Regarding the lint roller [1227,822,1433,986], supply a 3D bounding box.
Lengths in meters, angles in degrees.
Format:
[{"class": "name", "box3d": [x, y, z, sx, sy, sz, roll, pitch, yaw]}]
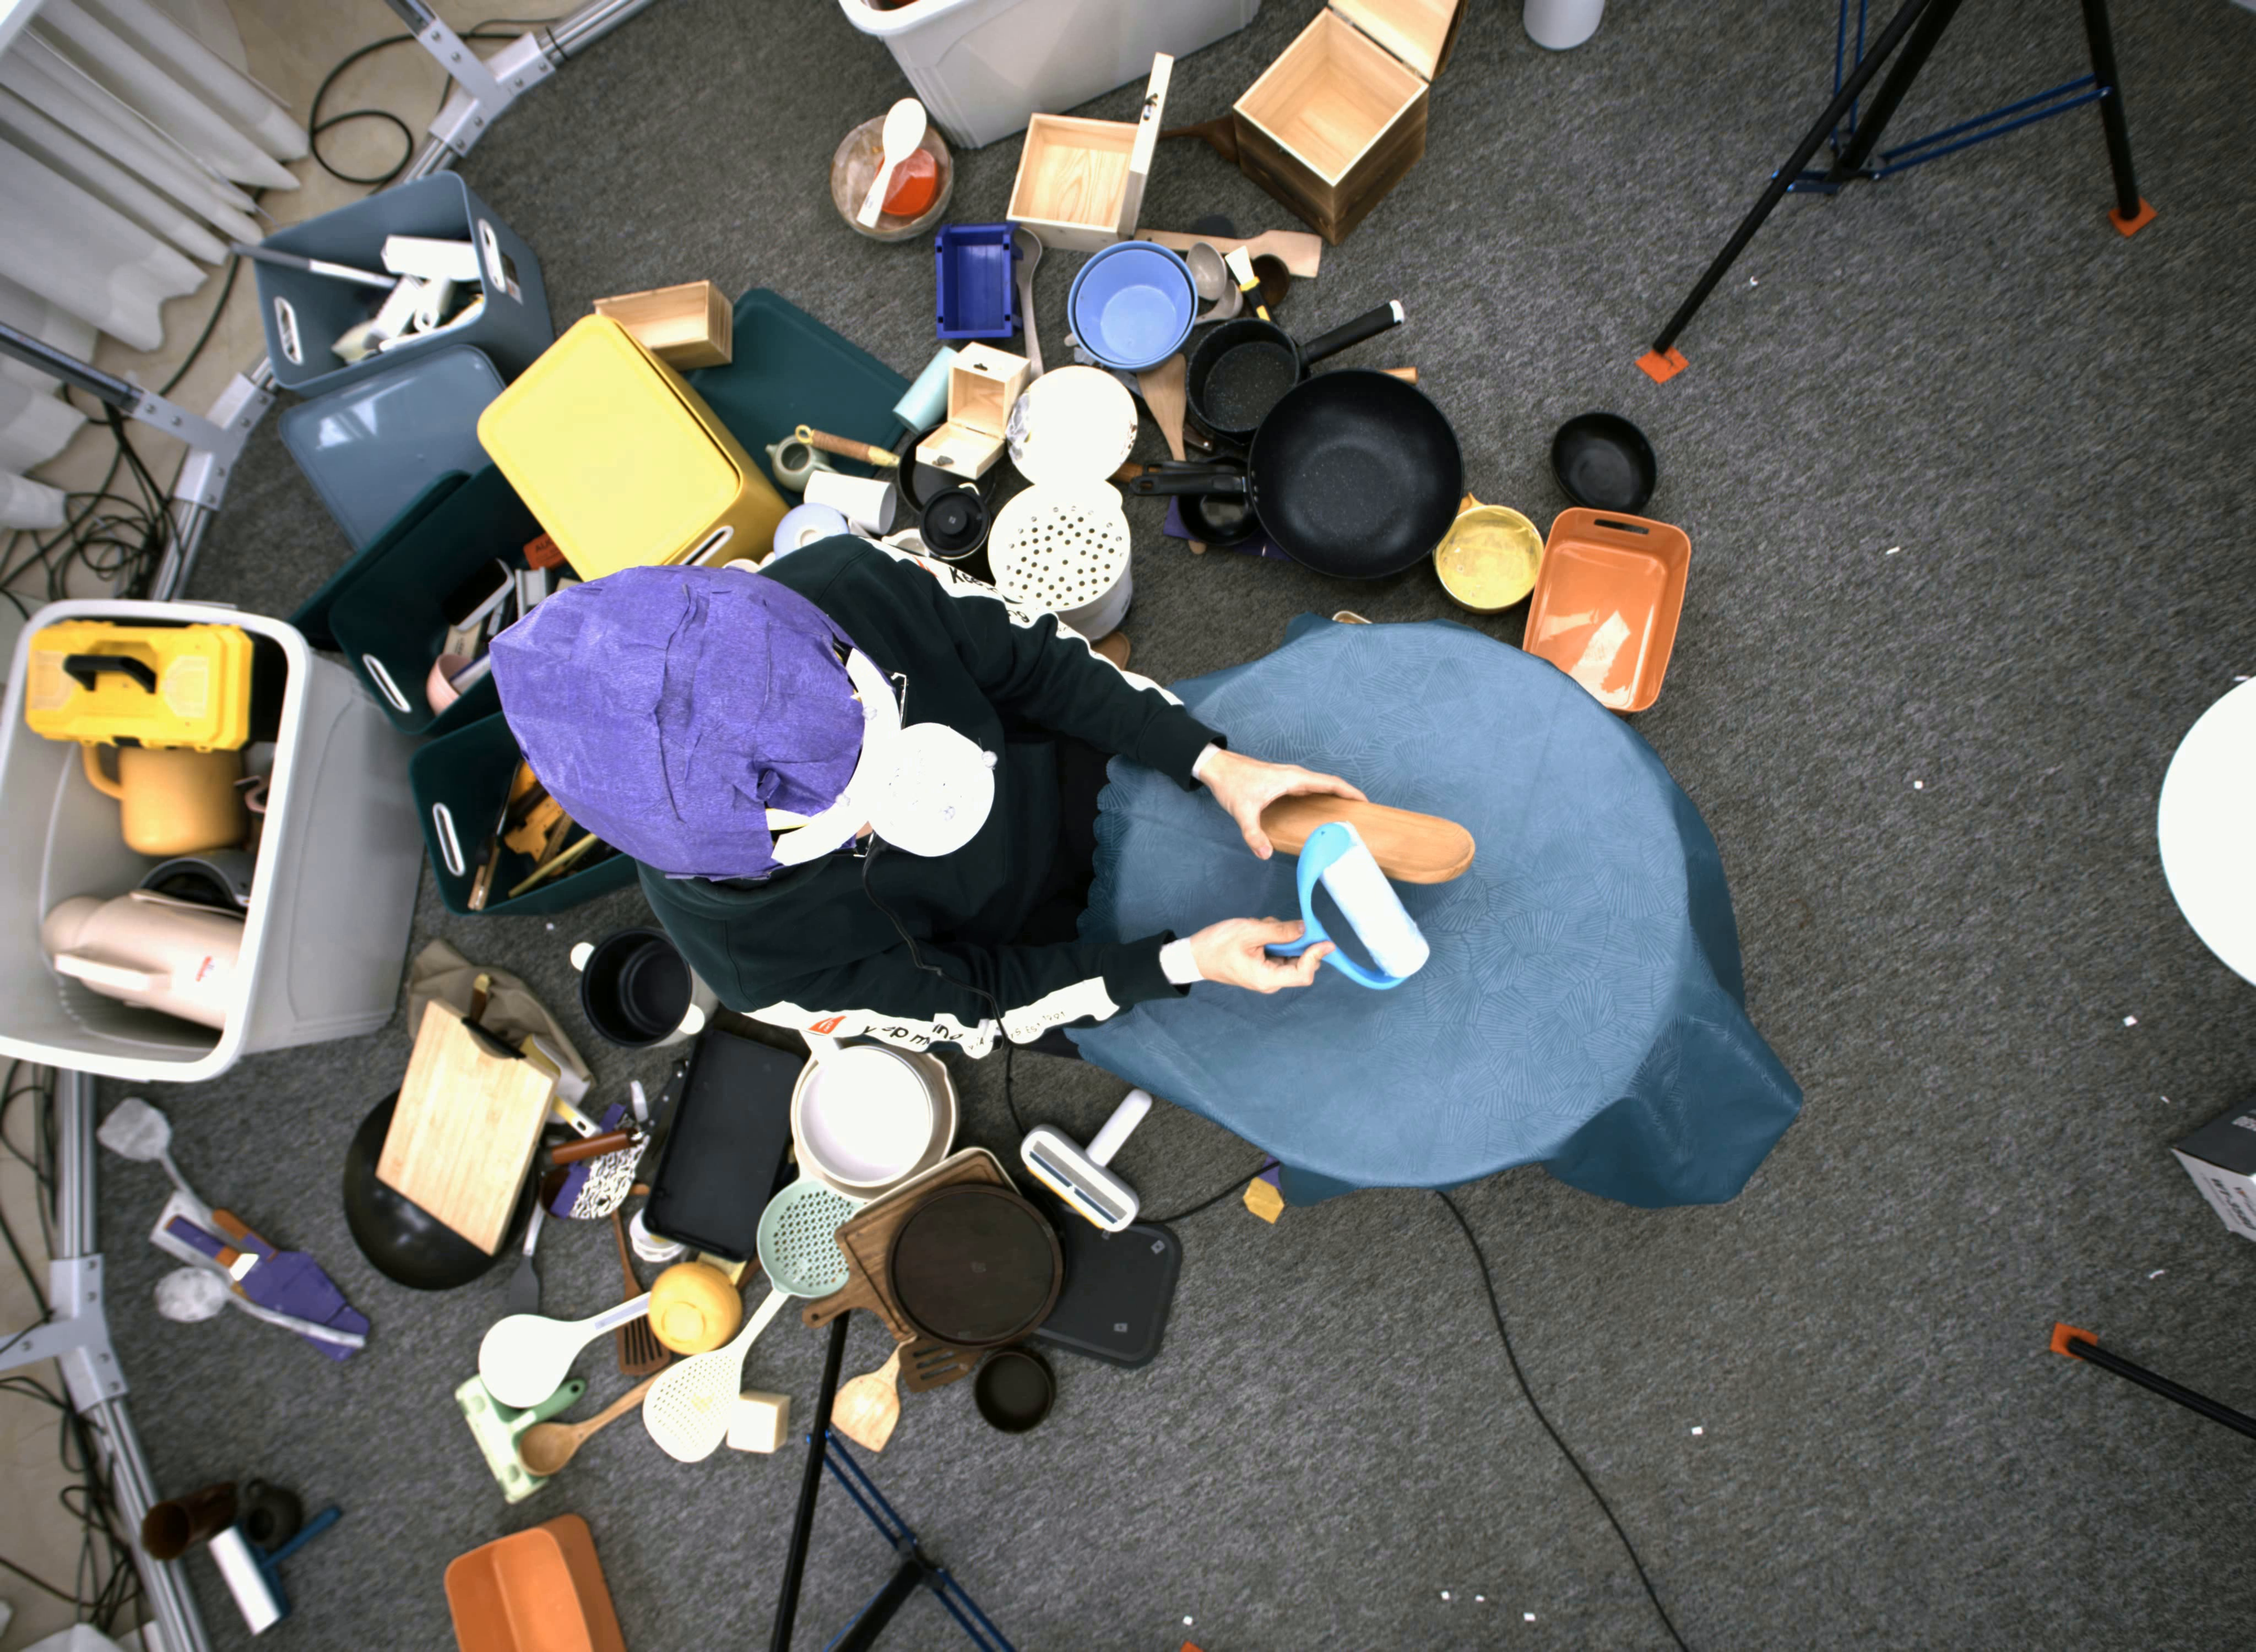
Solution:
[{"class": "lint roller", "box3d": [0.181, 0.094, 1.339, 0.182, 0.232, 0.066, -23, 47, 23]}]

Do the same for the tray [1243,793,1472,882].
[{"class": "tray", "box3d": [0.224, 0.009, 1.365, 0.232, 0.099, 0.021, 11, 125, 27]}]
